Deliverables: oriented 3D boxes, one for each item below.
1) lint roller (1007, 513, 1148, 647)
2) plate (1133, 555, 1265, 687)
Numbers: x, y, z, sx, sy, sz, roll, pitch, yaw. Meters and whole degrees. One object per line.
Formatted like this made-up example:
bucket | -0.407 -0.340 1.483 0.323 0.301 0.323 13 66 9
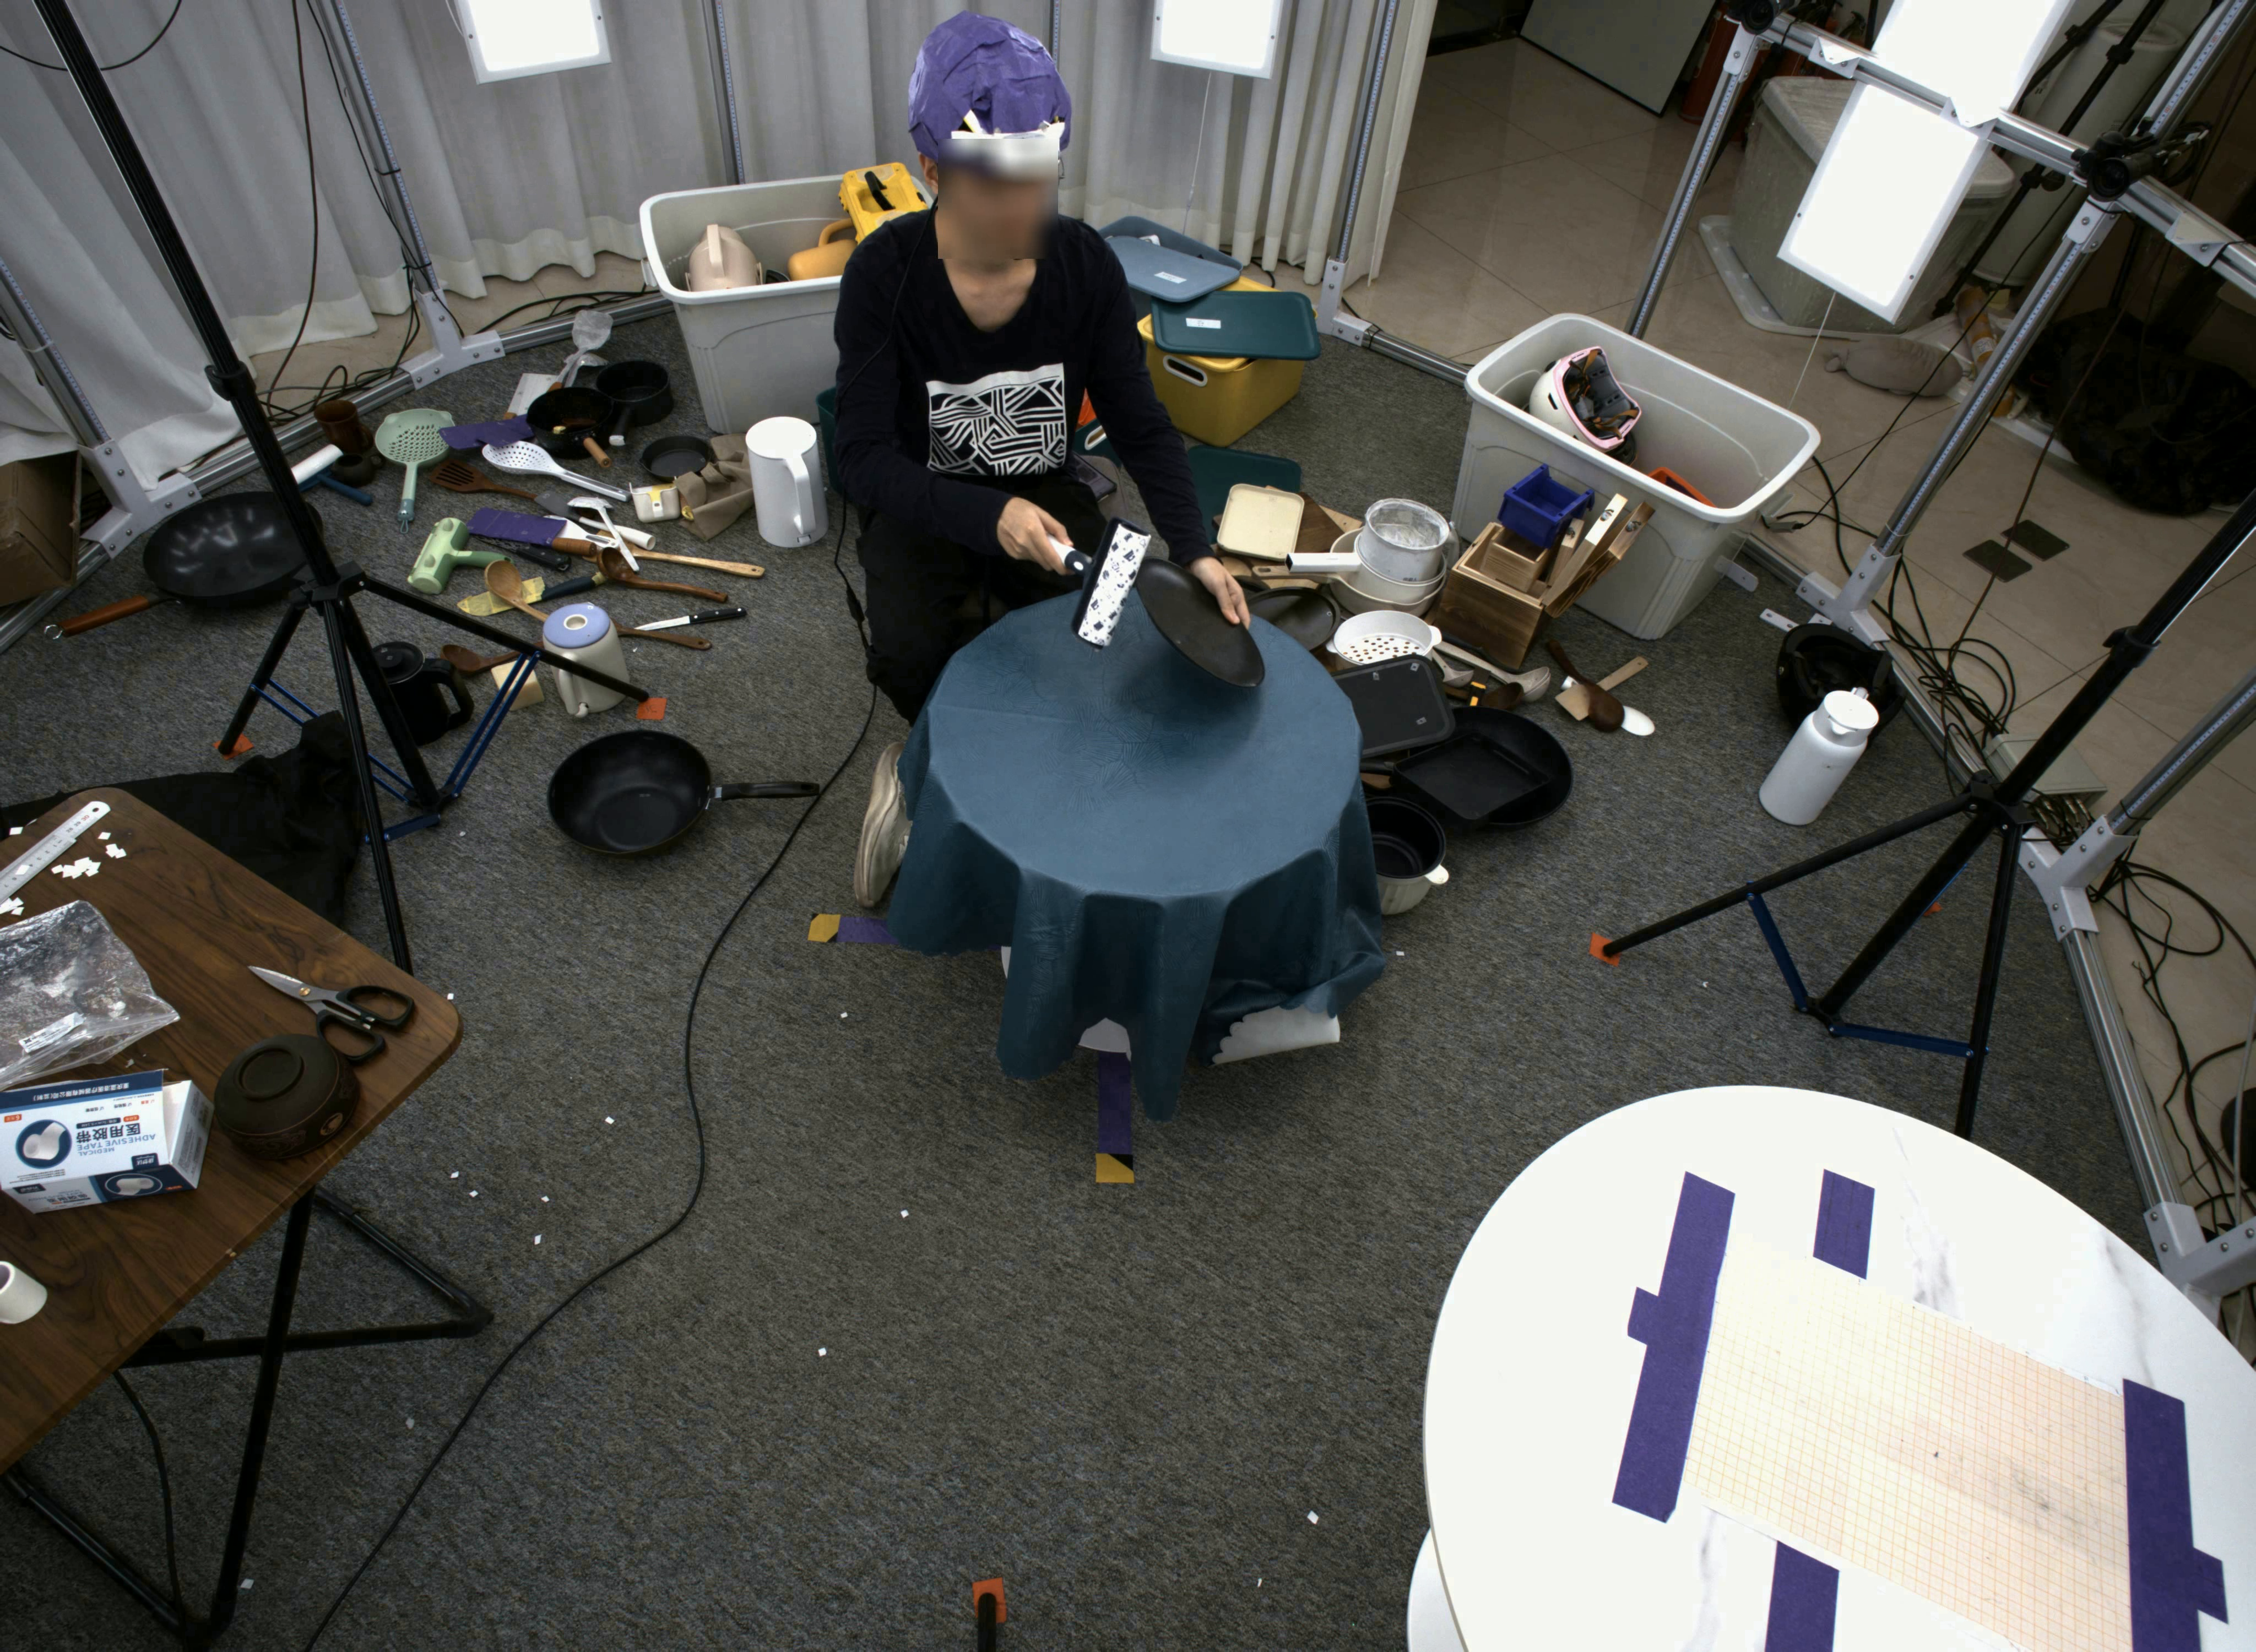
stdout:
lint roller | -0.091 -0.380 1.801 0.251 0.174 0.050 36 24 32
plate | 0.096 -0.285 1.806 0.241 0.023 0.250 31 33 -23
